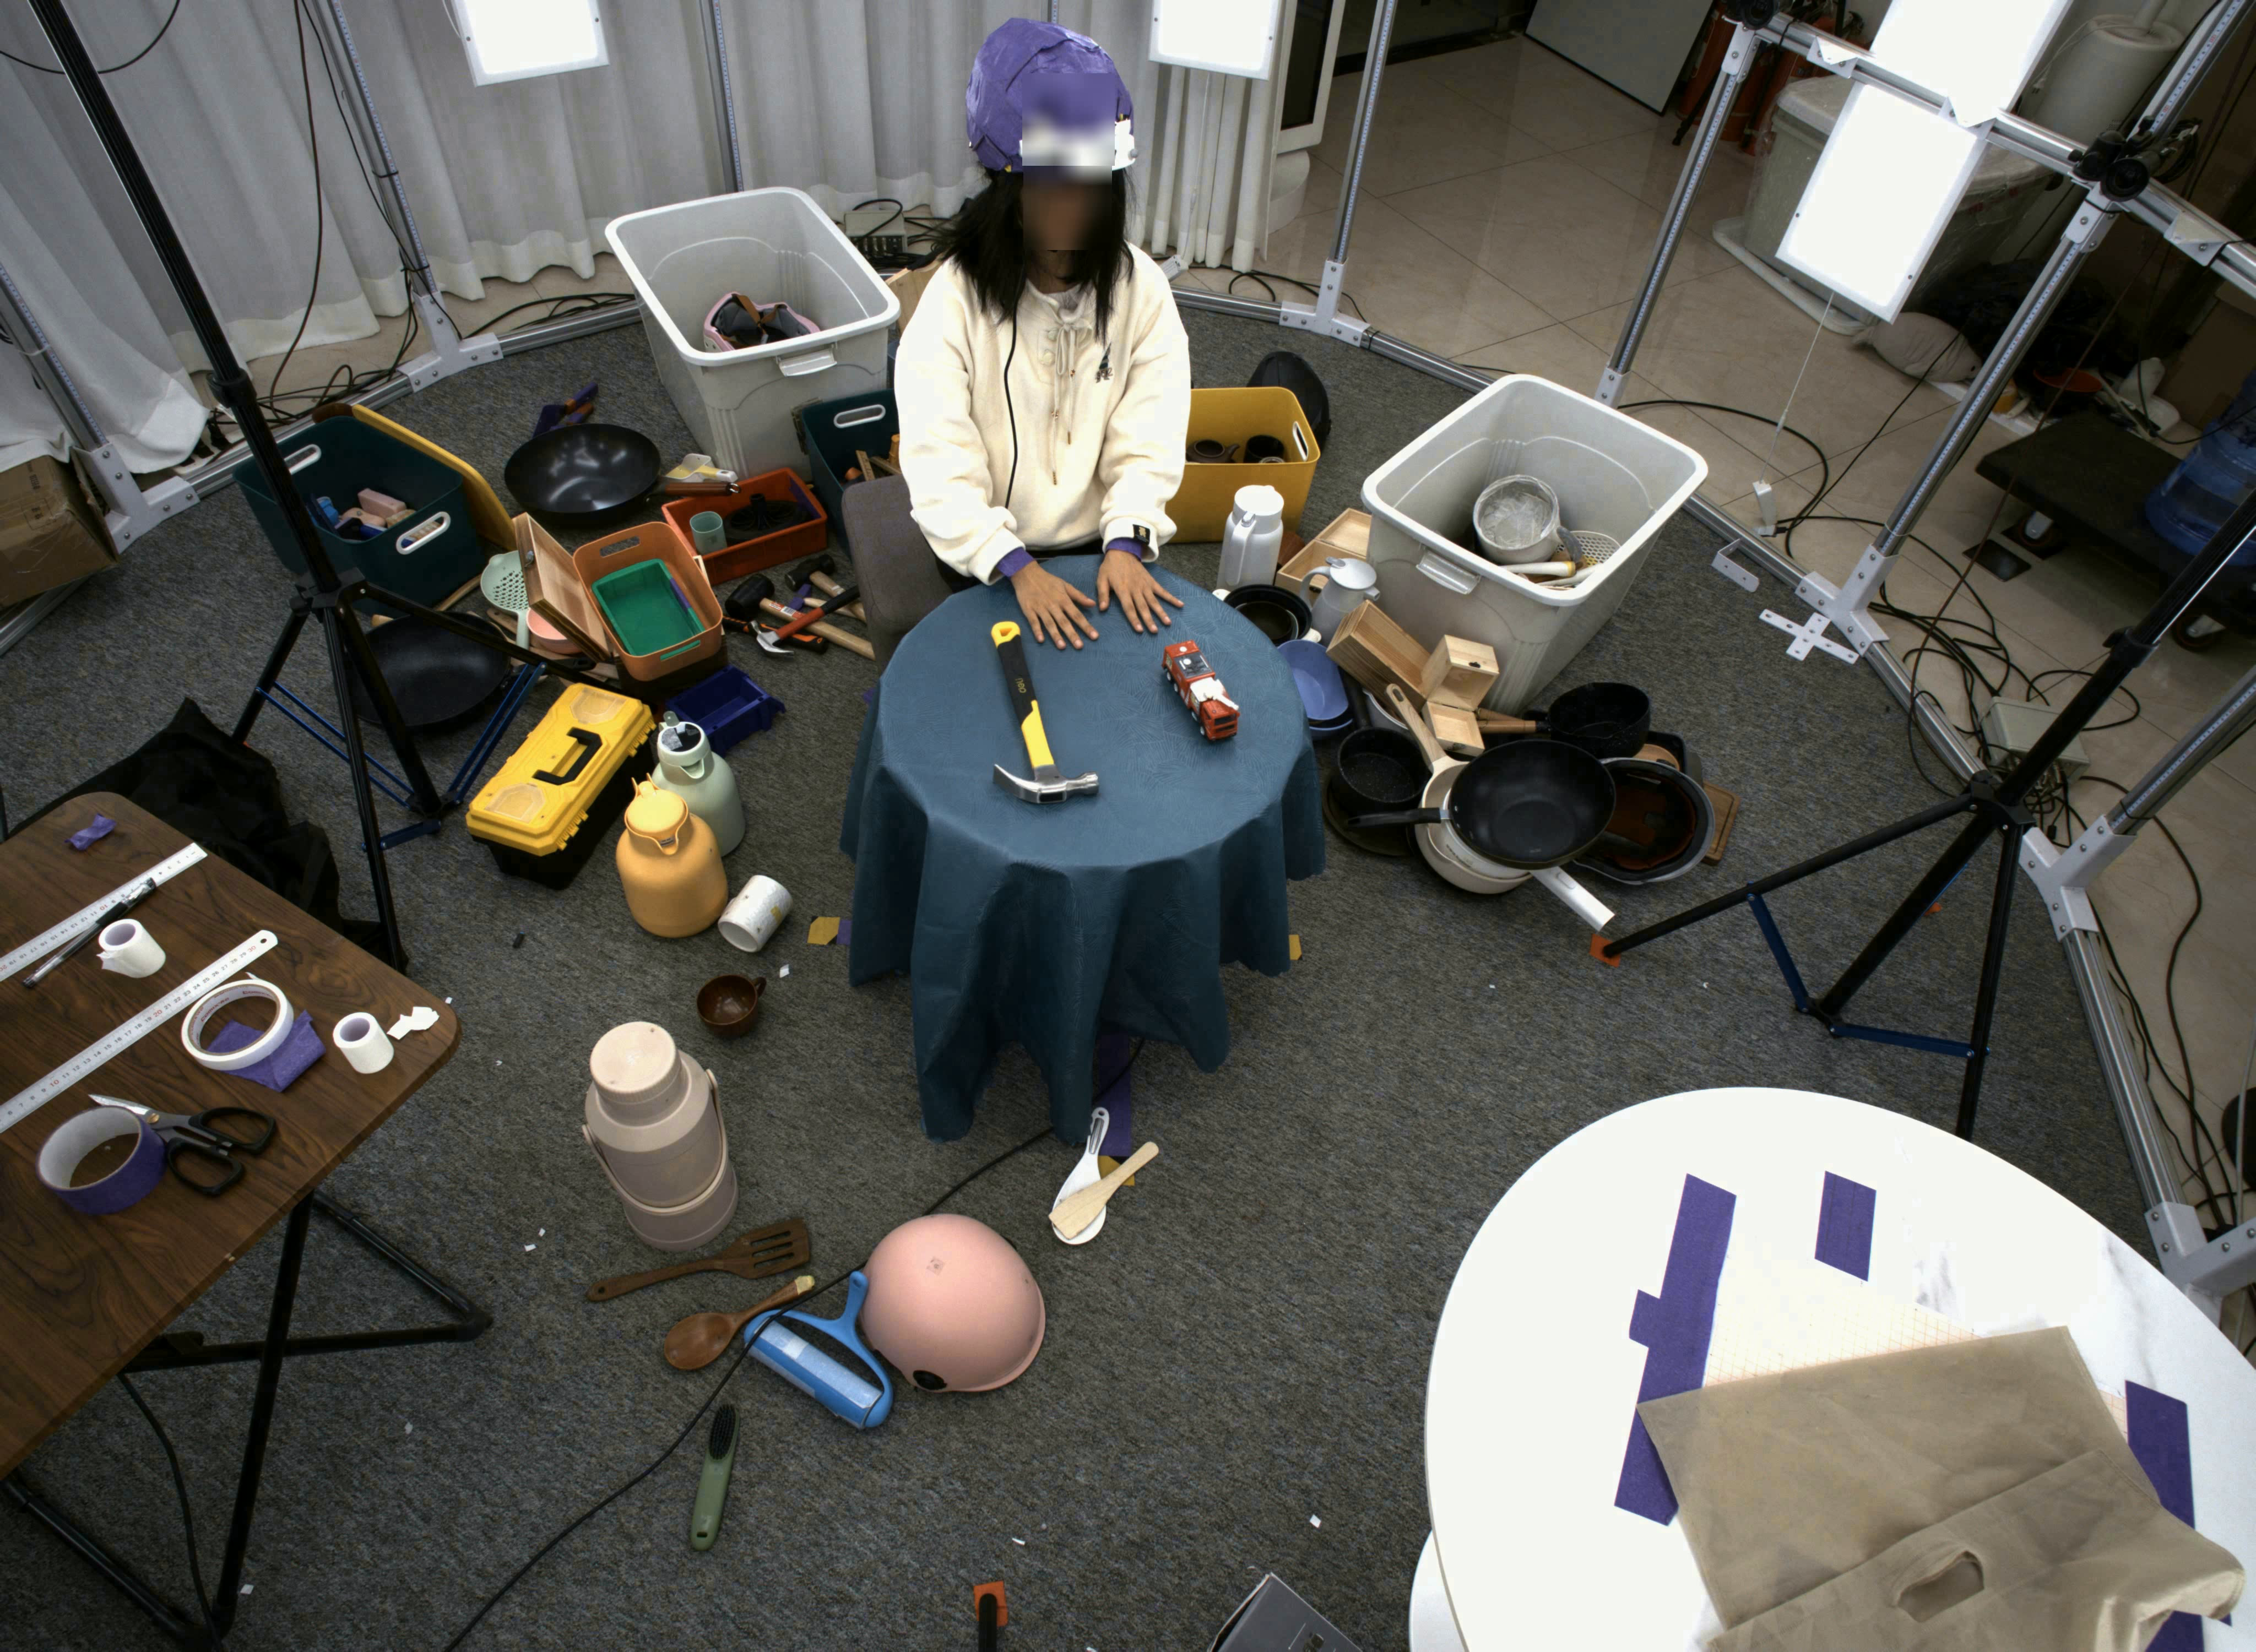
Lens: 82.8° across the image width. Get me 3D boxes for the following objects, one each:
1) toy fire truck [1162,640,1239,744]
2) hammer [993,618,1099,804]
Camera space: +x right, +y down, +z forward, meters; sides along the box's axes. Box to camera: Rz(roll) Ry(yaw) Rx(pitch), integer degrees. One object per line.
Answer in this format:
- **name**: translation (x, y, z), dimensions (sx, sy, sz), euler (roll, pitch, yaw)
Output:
- **toy fire truck**: translation (0.102, -0.190, 1.804), dimensions (0.054, 0.068, 0.172), euler (-16, 51, -17)
- **hammer**: translation (-0.140, -0.168, 1.781), dimensions (0.131, 0.031, 0.347), euler (-9, 51, -10)
